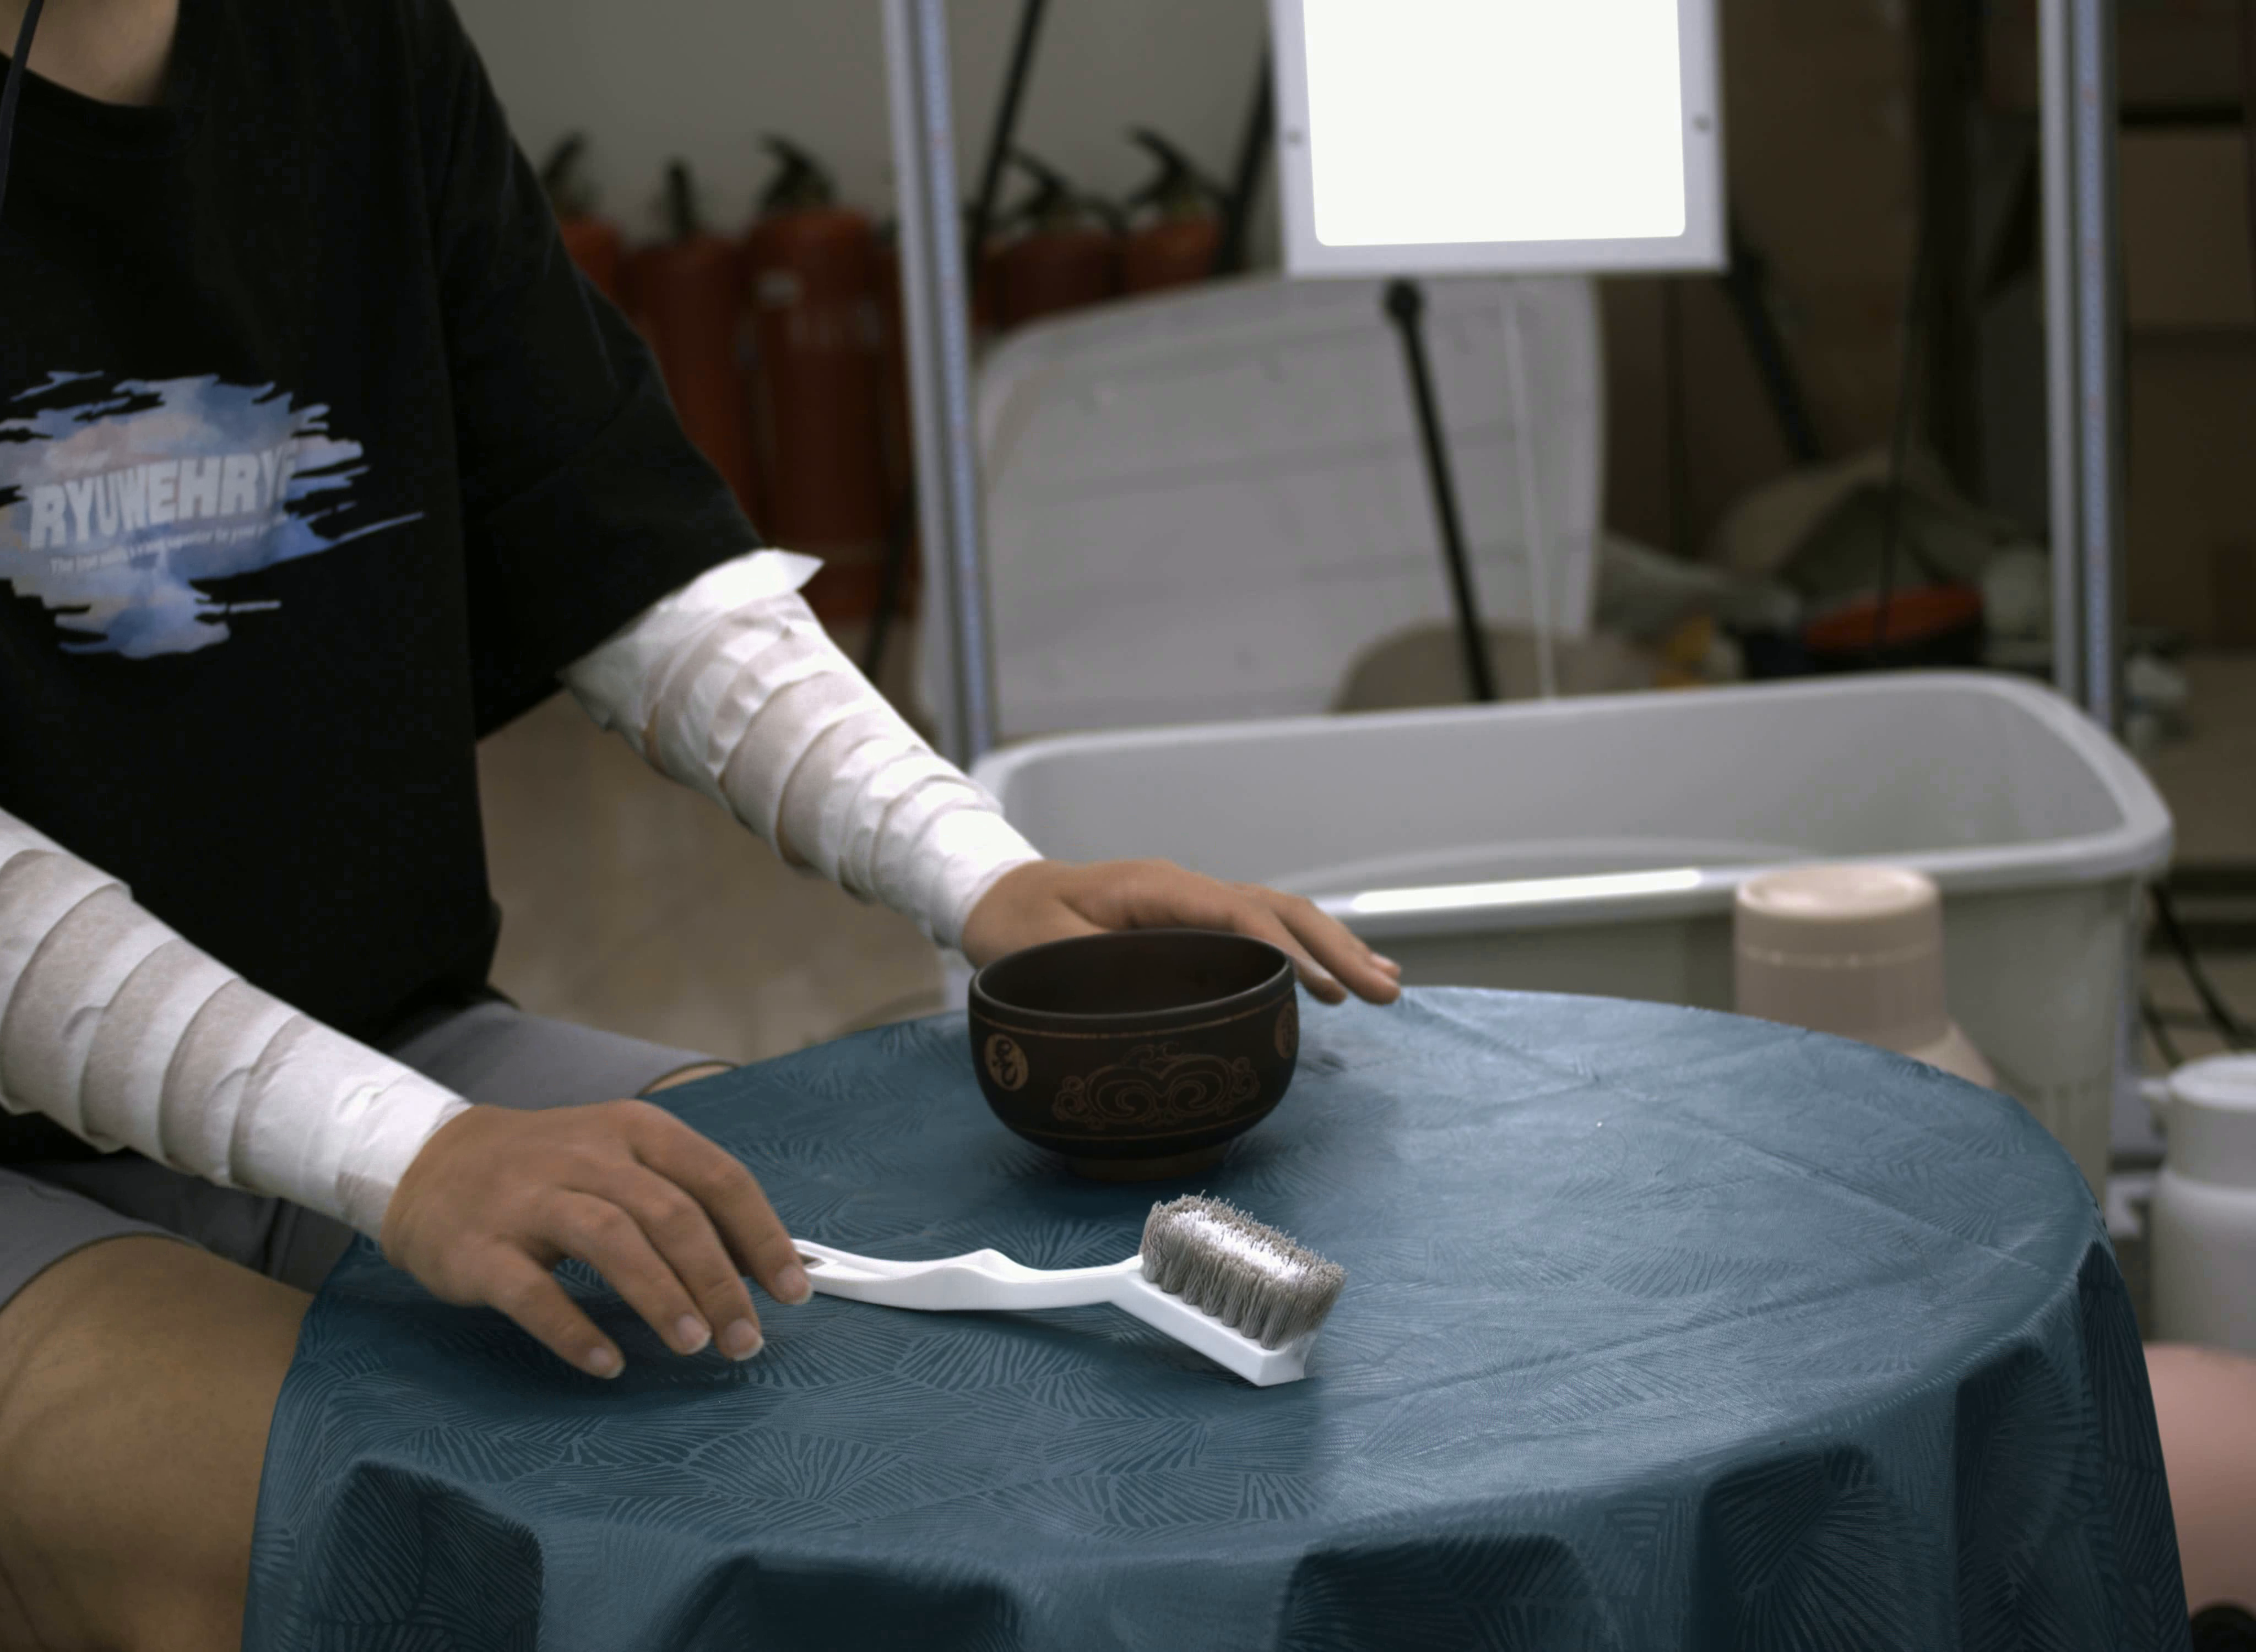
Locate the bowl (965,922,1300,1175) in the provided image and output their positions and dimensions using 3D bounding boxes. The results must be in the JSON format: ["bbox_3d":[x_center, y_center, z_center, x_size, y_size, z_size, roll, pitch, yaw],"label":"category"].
[{"bbox_3d":[0.003,0.081,1.927,0.118,0.070,0.118,-7,13,0],"label":"bowl"}]

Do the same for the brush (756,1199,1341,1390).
[{"bbox_3d":[-0.032,0.135,1.767,0.249,0.050,0.033,9,18,43],"label":"brush"}]
